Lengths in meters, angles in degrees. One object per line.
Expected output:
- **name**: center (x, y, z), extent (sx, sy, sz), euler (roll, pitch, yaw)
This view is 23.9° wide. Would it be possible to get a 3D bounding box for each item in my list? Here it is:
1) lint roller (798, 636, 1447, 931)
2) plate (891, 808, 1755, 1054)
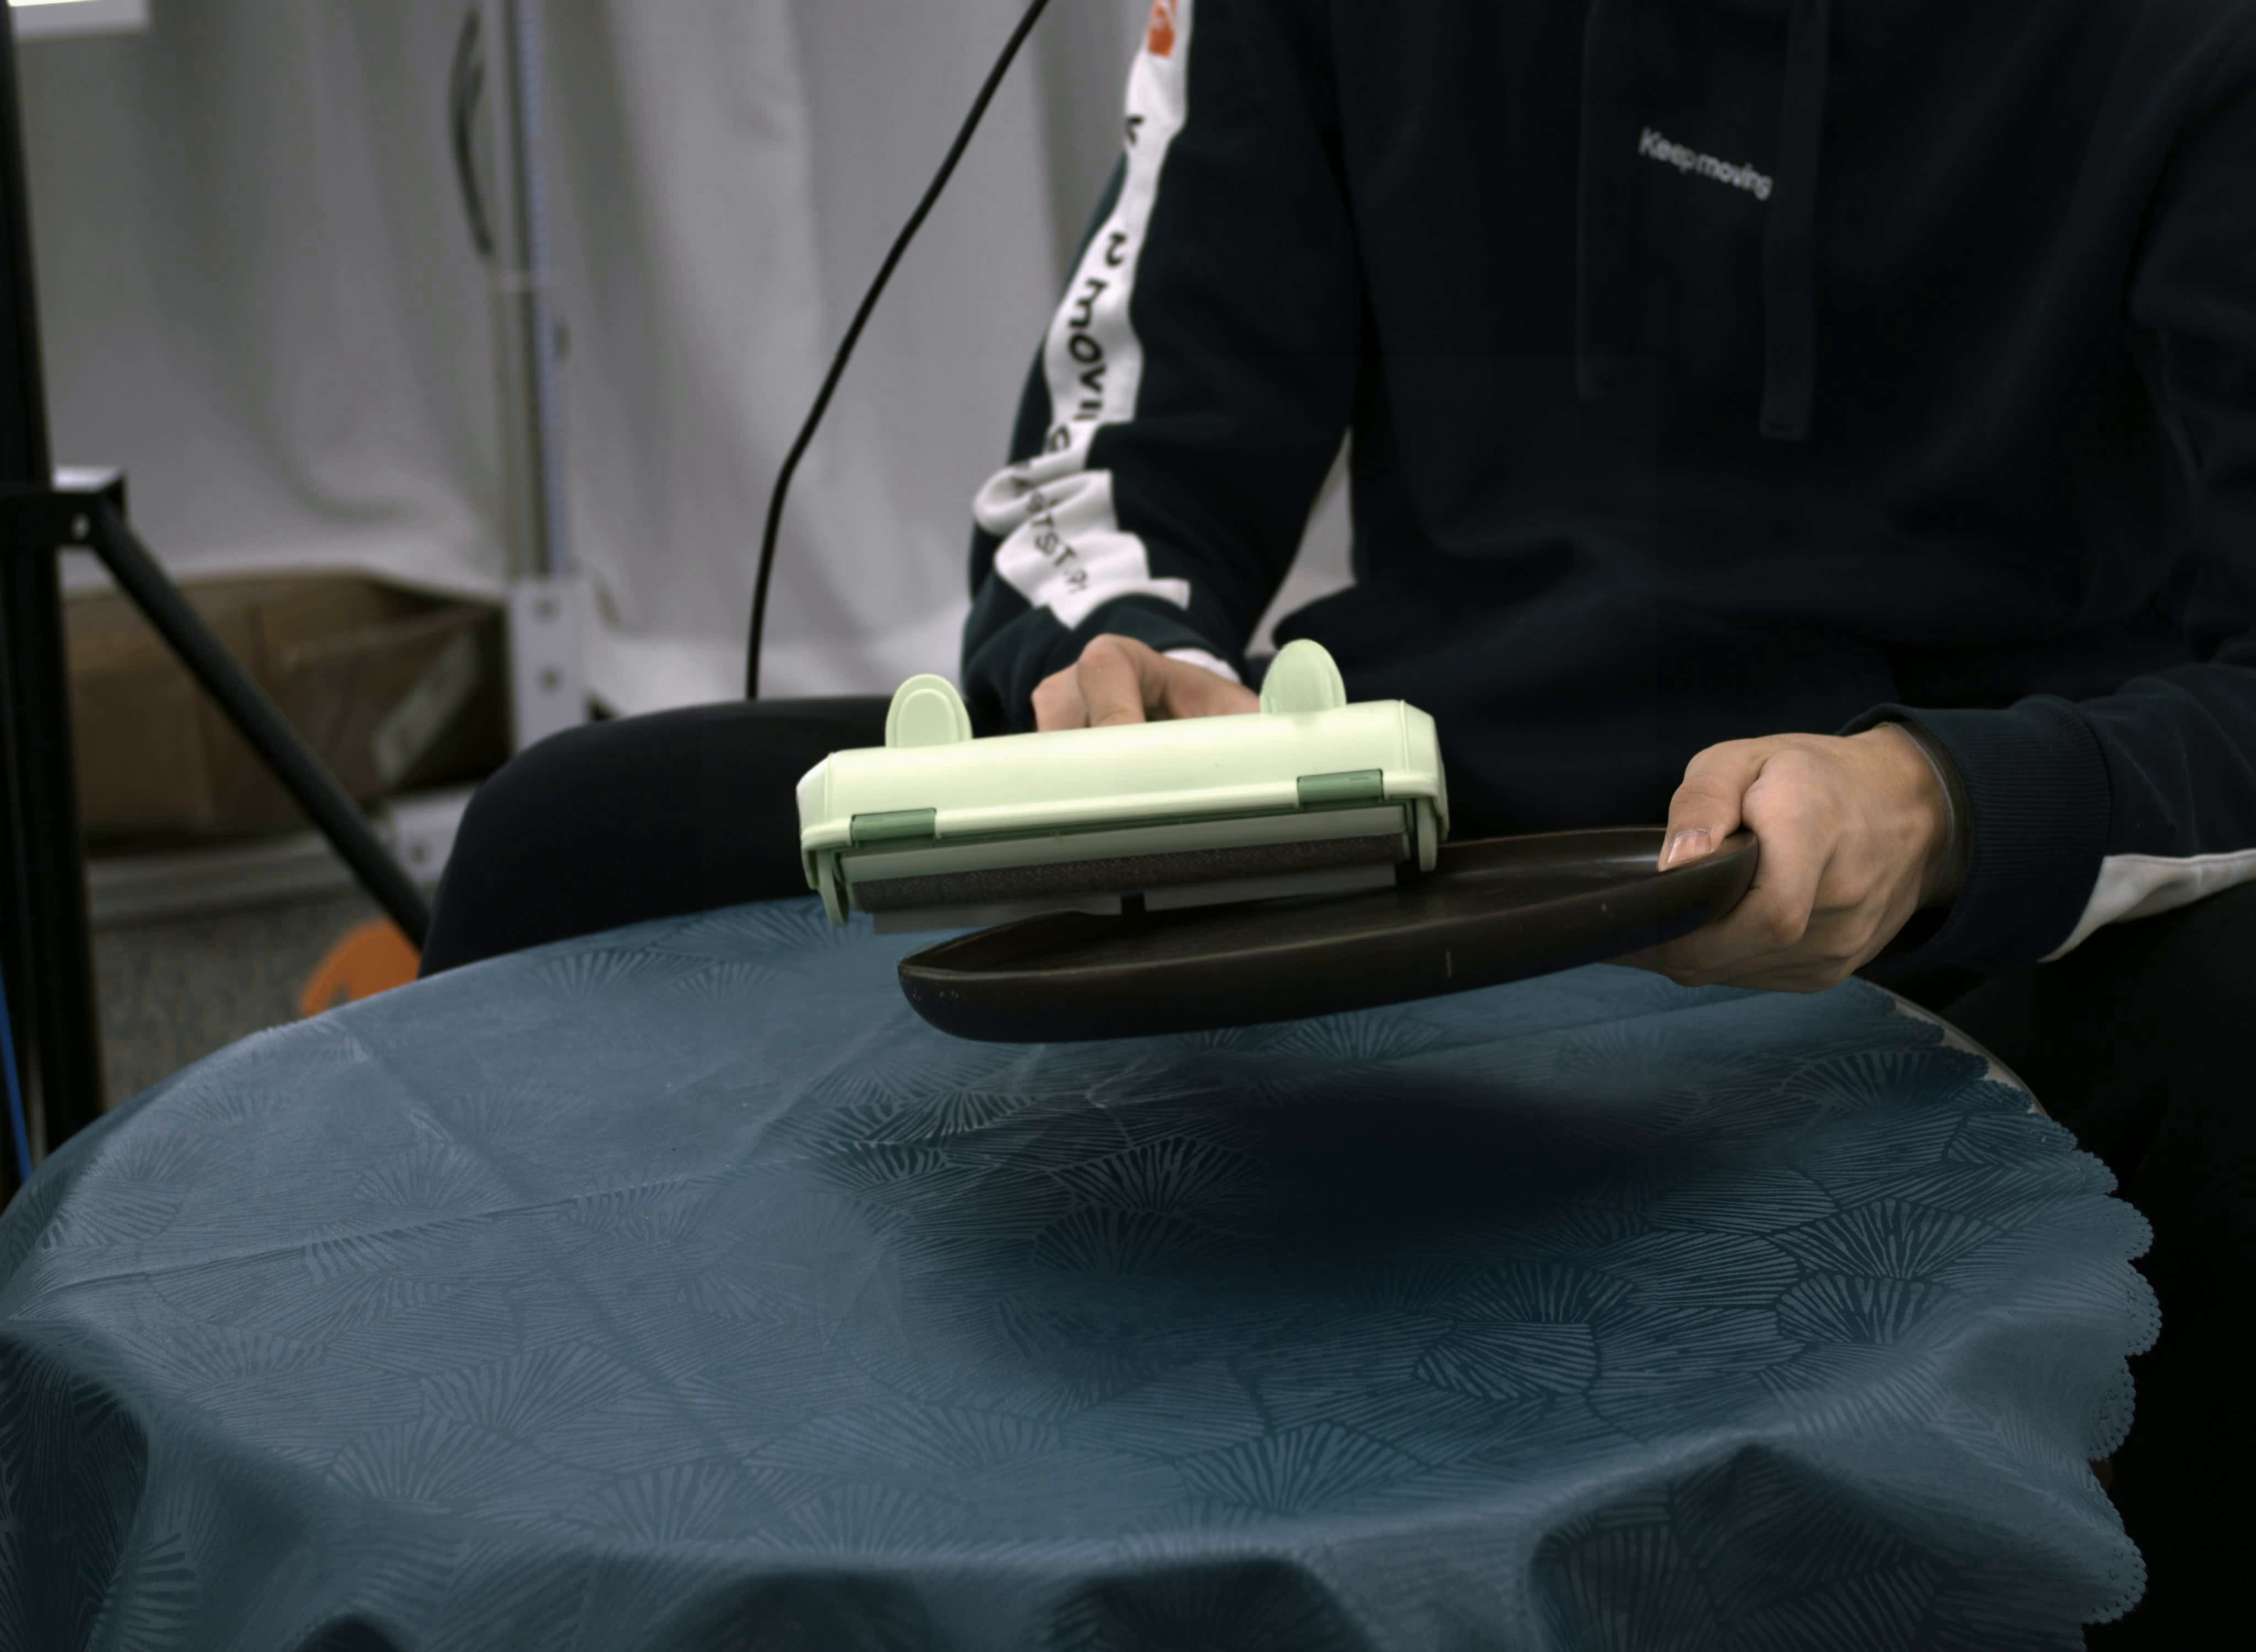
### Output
- **lint roller**: center (0.000, -0.024, 1.683), extent (0.198, 0.082, 0.183), euler (-6, 15, 5)
- **plate**: center (0.058, 0.032, 1.538), extent (0.253, 0.029, 0.255), euler (-10, 4, -1)
